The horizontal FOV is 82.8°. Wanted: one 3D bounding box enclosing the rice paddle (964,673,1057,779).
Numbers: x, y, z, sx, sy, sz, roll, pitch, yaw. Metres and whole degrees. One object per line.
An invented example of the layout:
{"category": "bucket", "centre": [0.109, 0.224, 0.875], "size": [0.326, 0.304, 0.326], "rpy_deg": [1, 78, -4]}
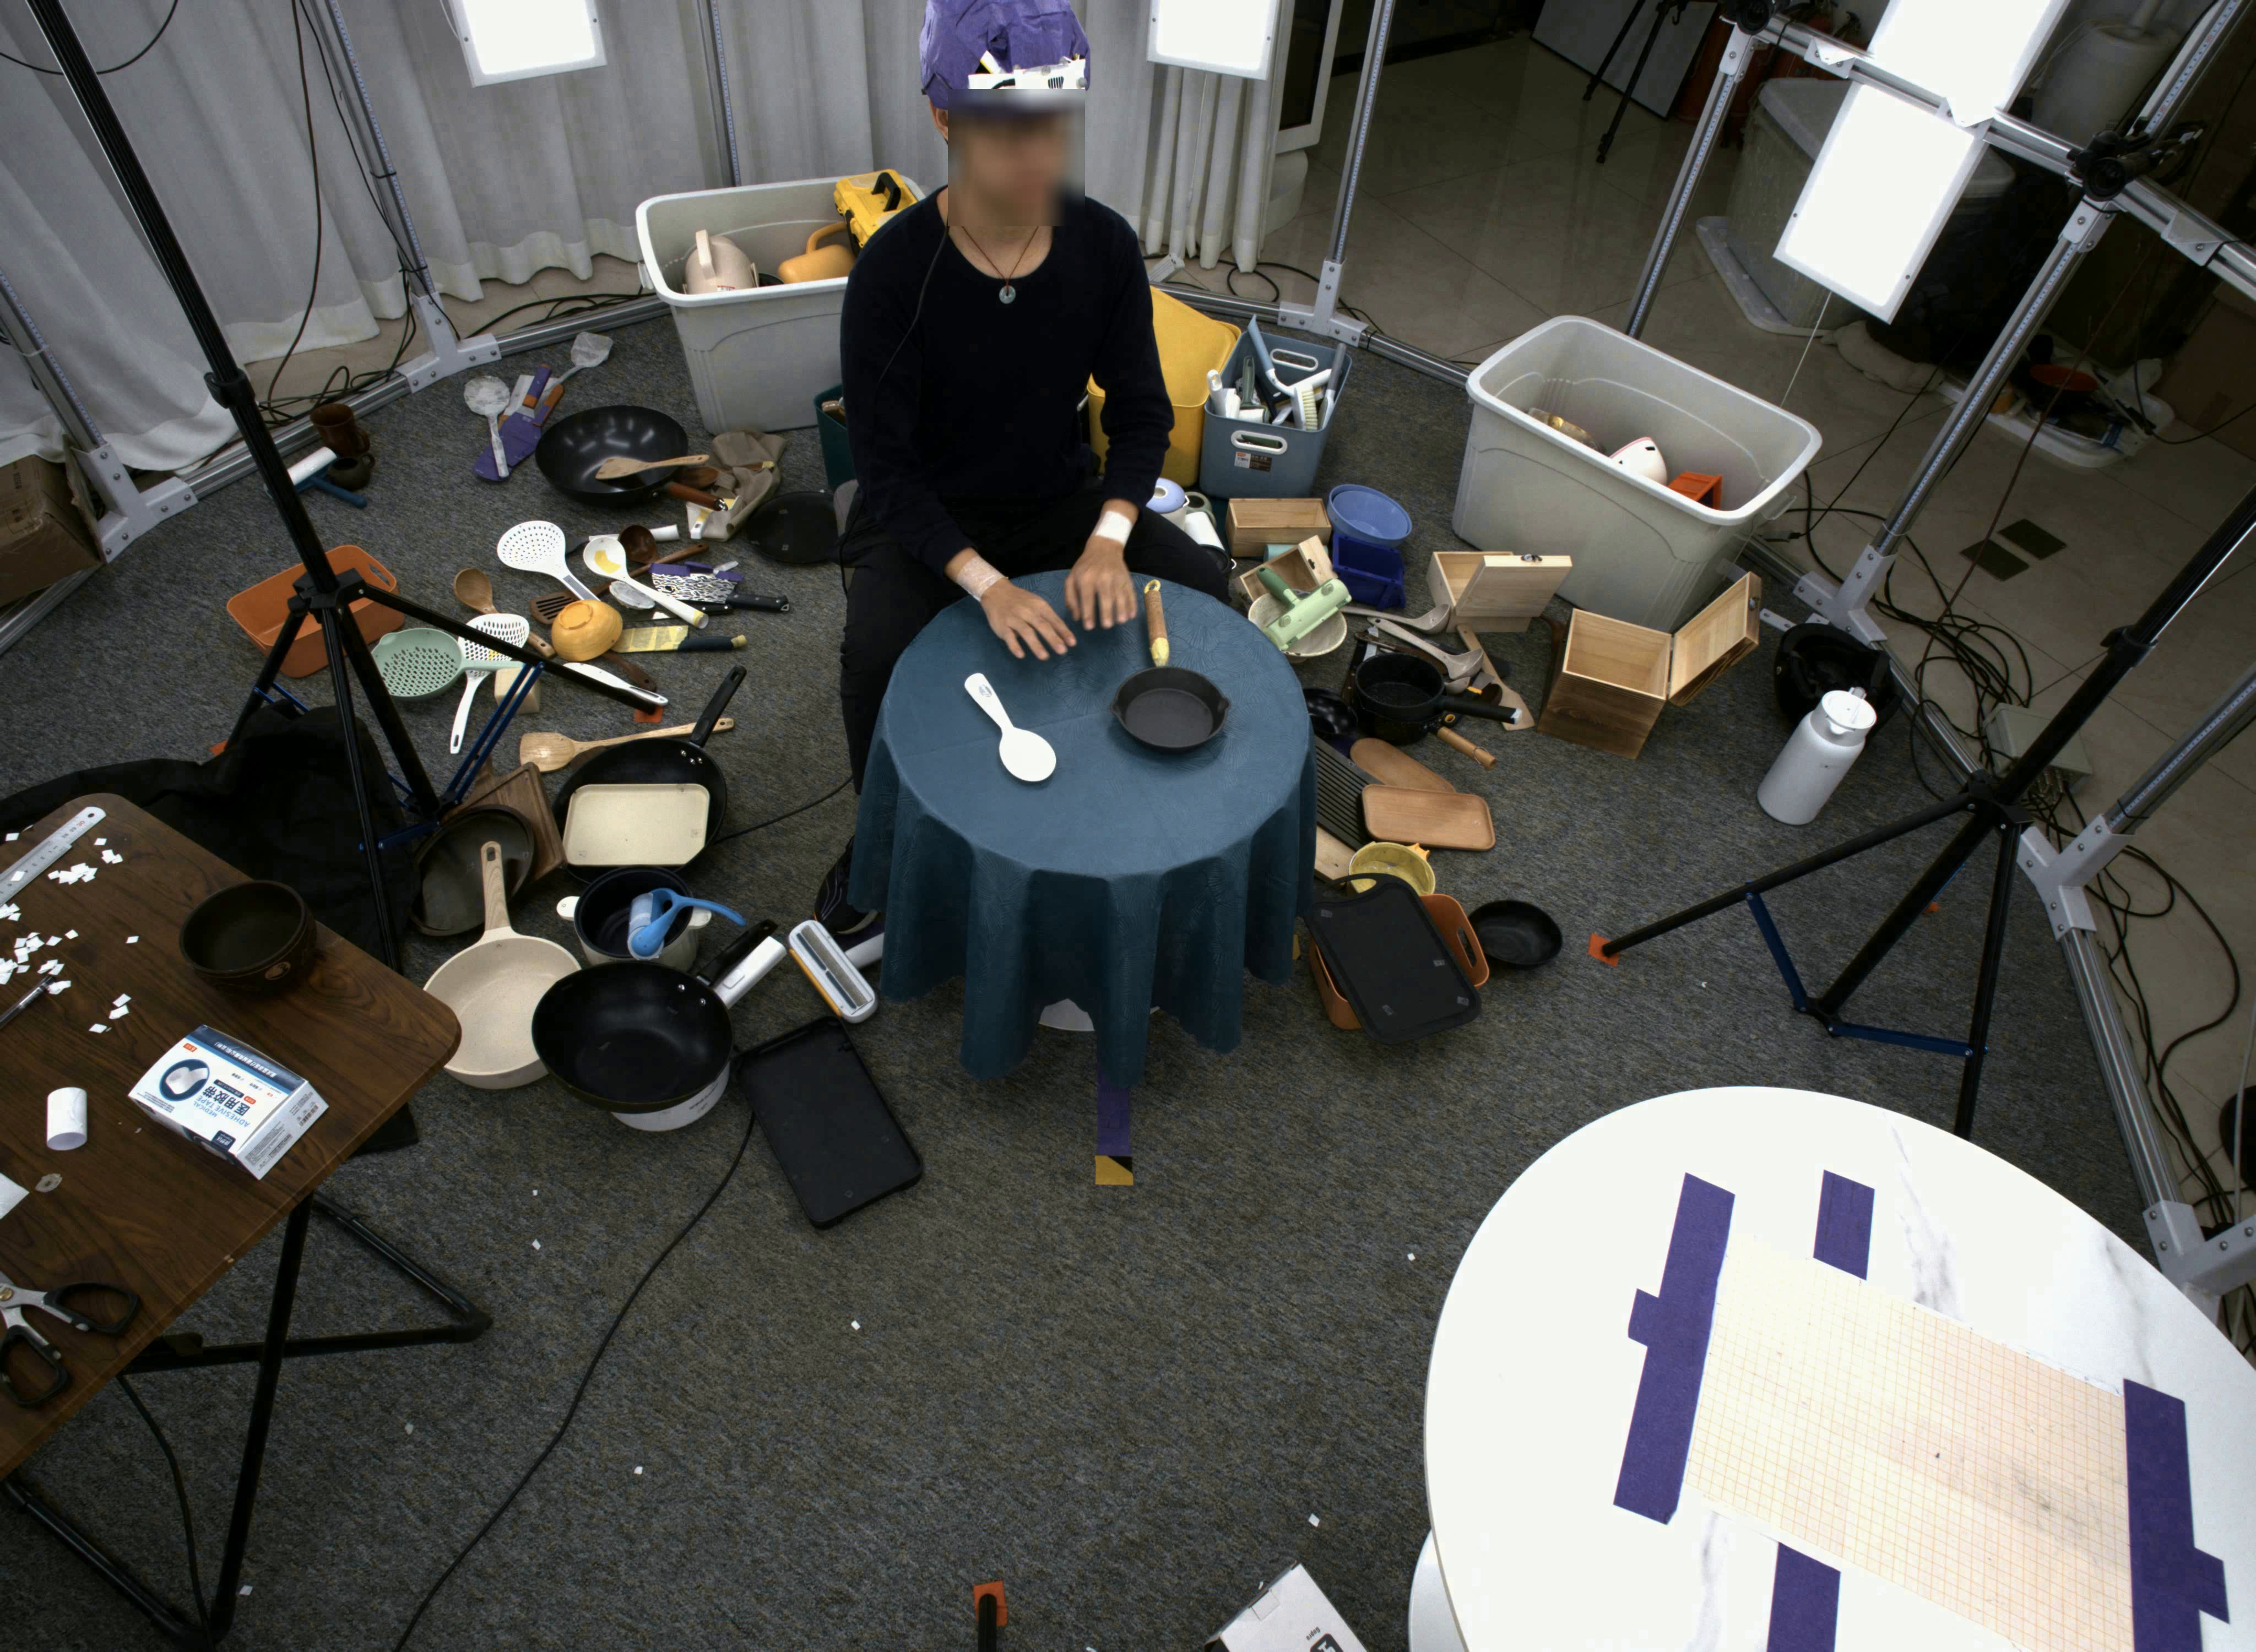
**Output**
{"category": "rice paddle", "centre": [-0.164, -0.136, 1.757], "size": [0.069, 0.029, 0.209], "rpy_deg": [-25, 55, -18]}

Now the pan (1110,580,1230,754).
{"category": "pan", "centre": [0.052, -0.229, 1.838], "size": [0.169, 0.048, 0.332], "rpy_deg": [-1, 51, -5]}
